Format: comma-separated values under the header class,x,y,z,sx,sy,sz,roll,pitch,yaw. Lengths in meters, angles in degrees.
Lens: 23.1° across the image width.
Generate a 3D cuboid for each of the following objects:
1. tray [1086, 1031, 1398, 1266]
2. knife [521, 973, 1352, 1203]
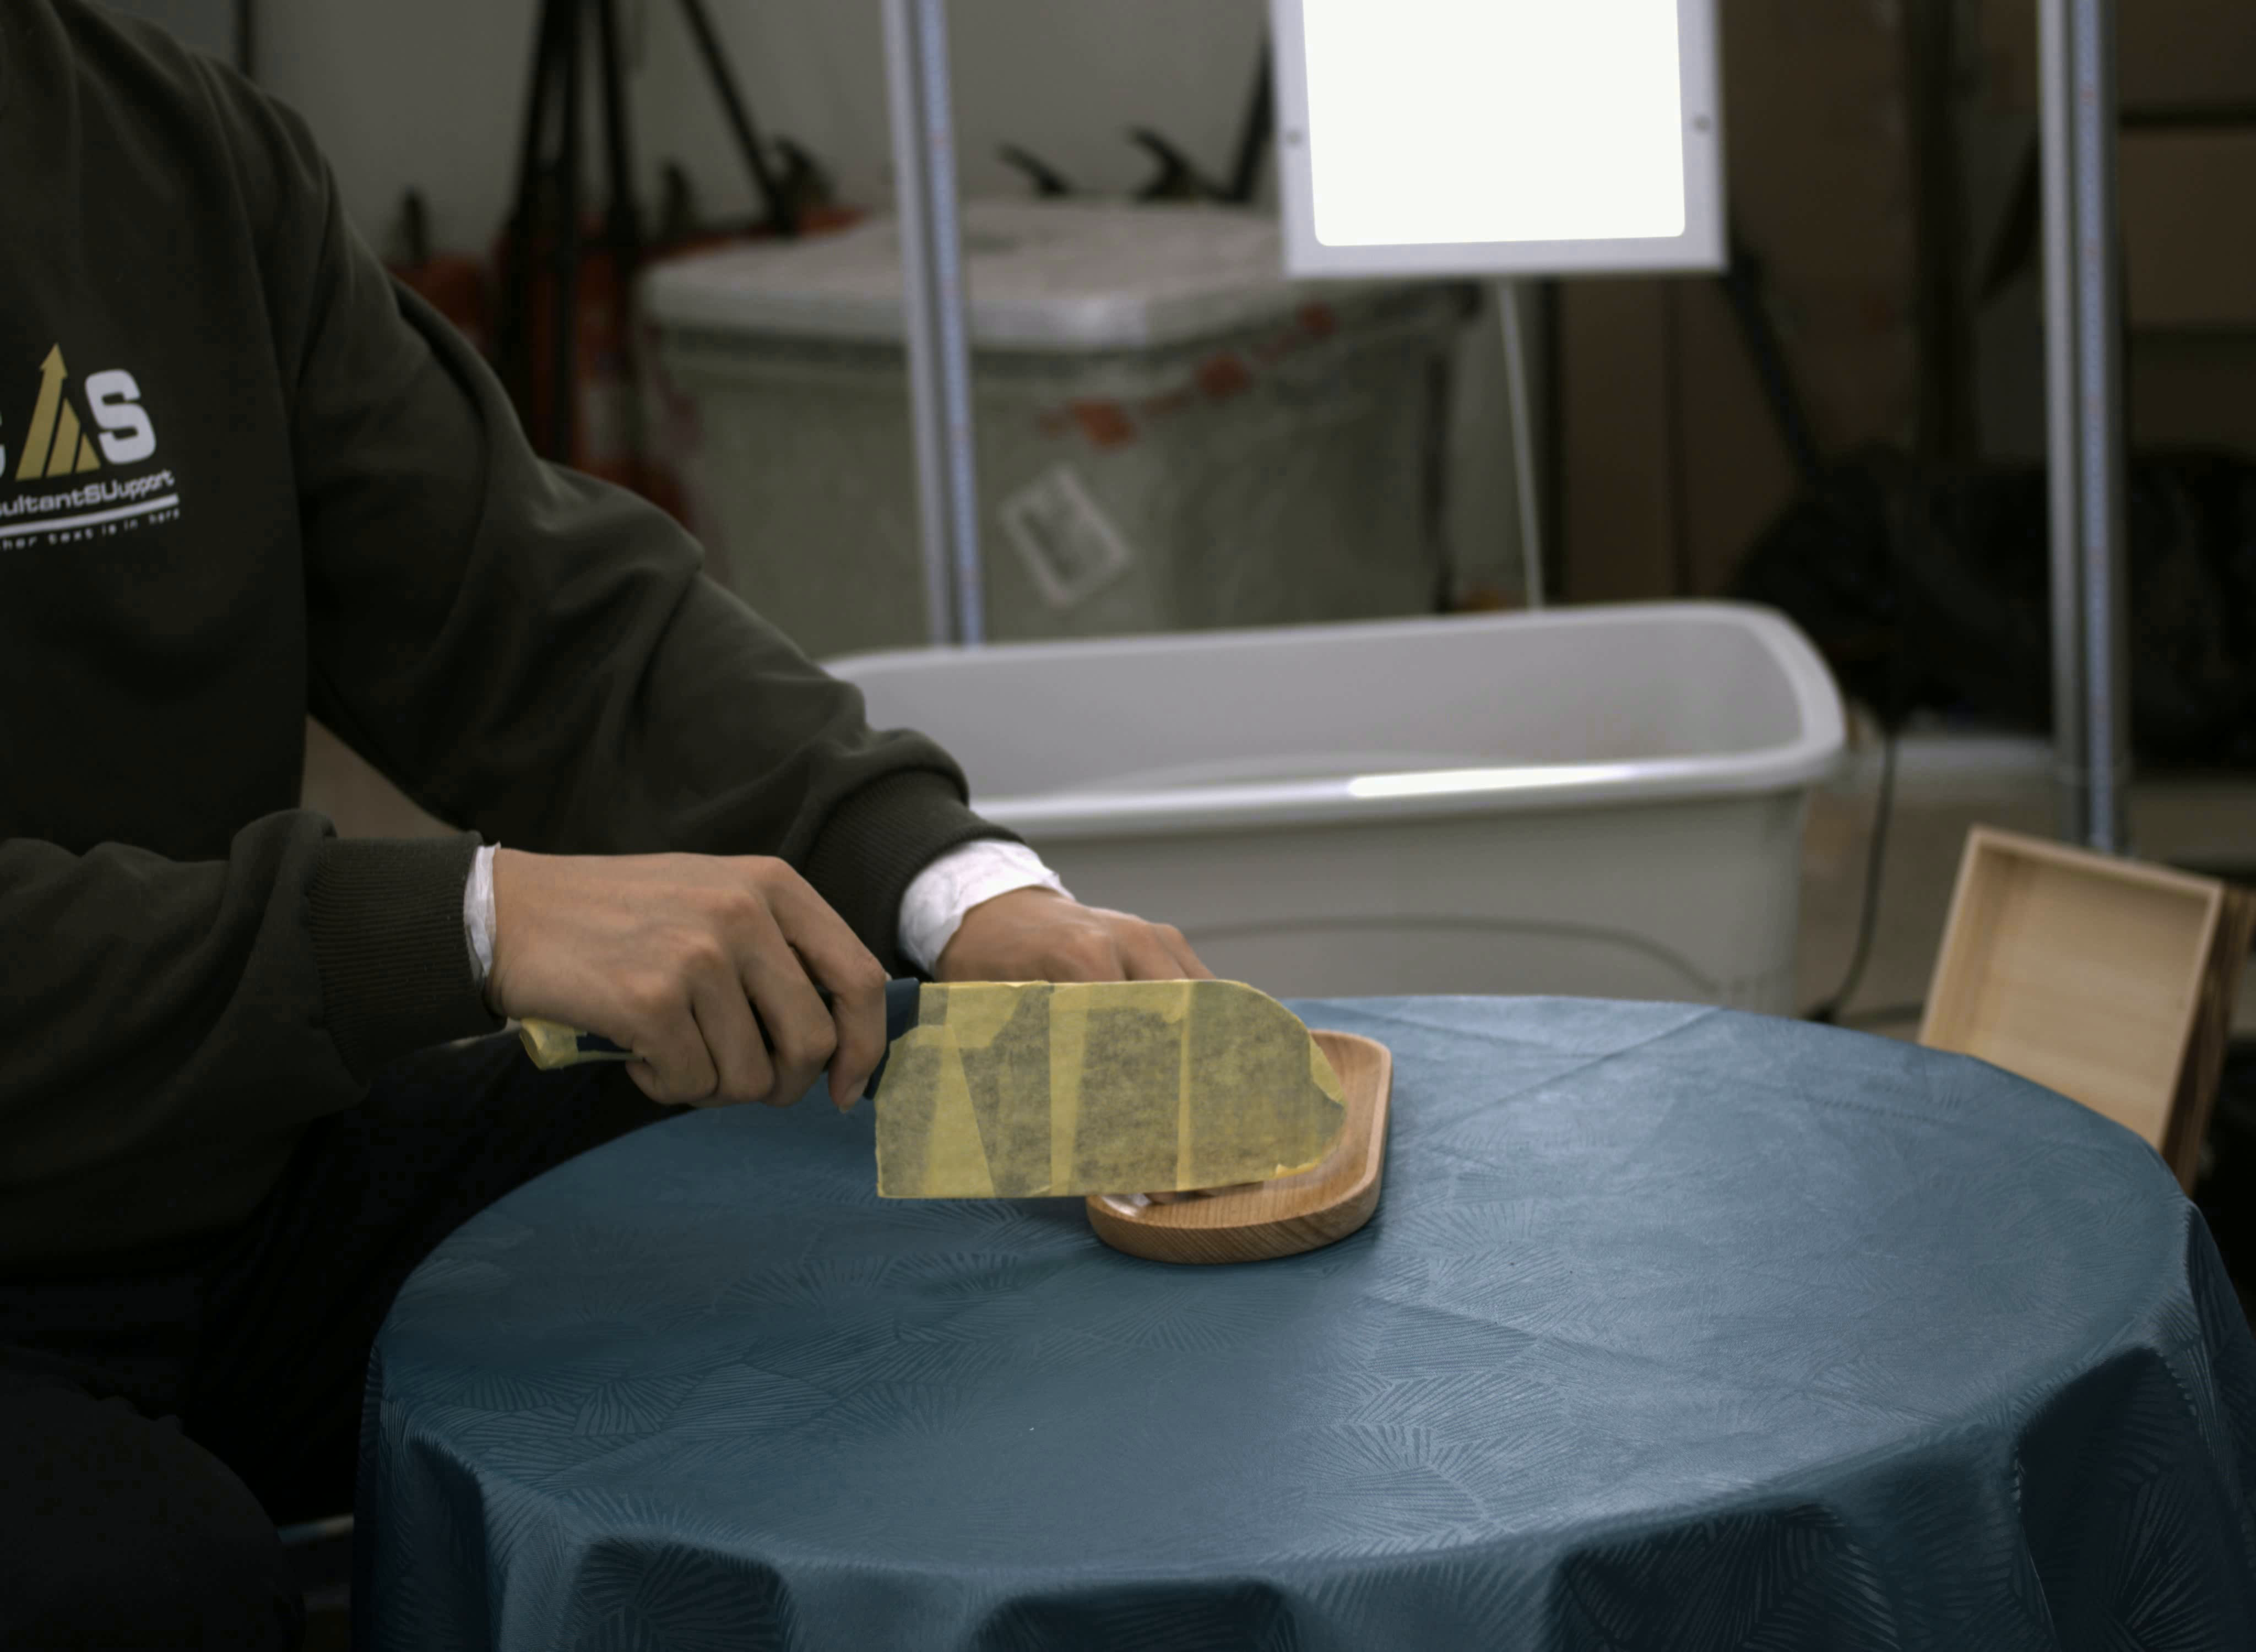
class,x,y,z,sx,sy,sz,roll,pitch,yaw
tray,0.042,0.110,1.919,0.102,0.020,0.229,-5,15,7
knife,-0.061,0.086,1.840,0.285,0.081,0.027,3,1,-13
